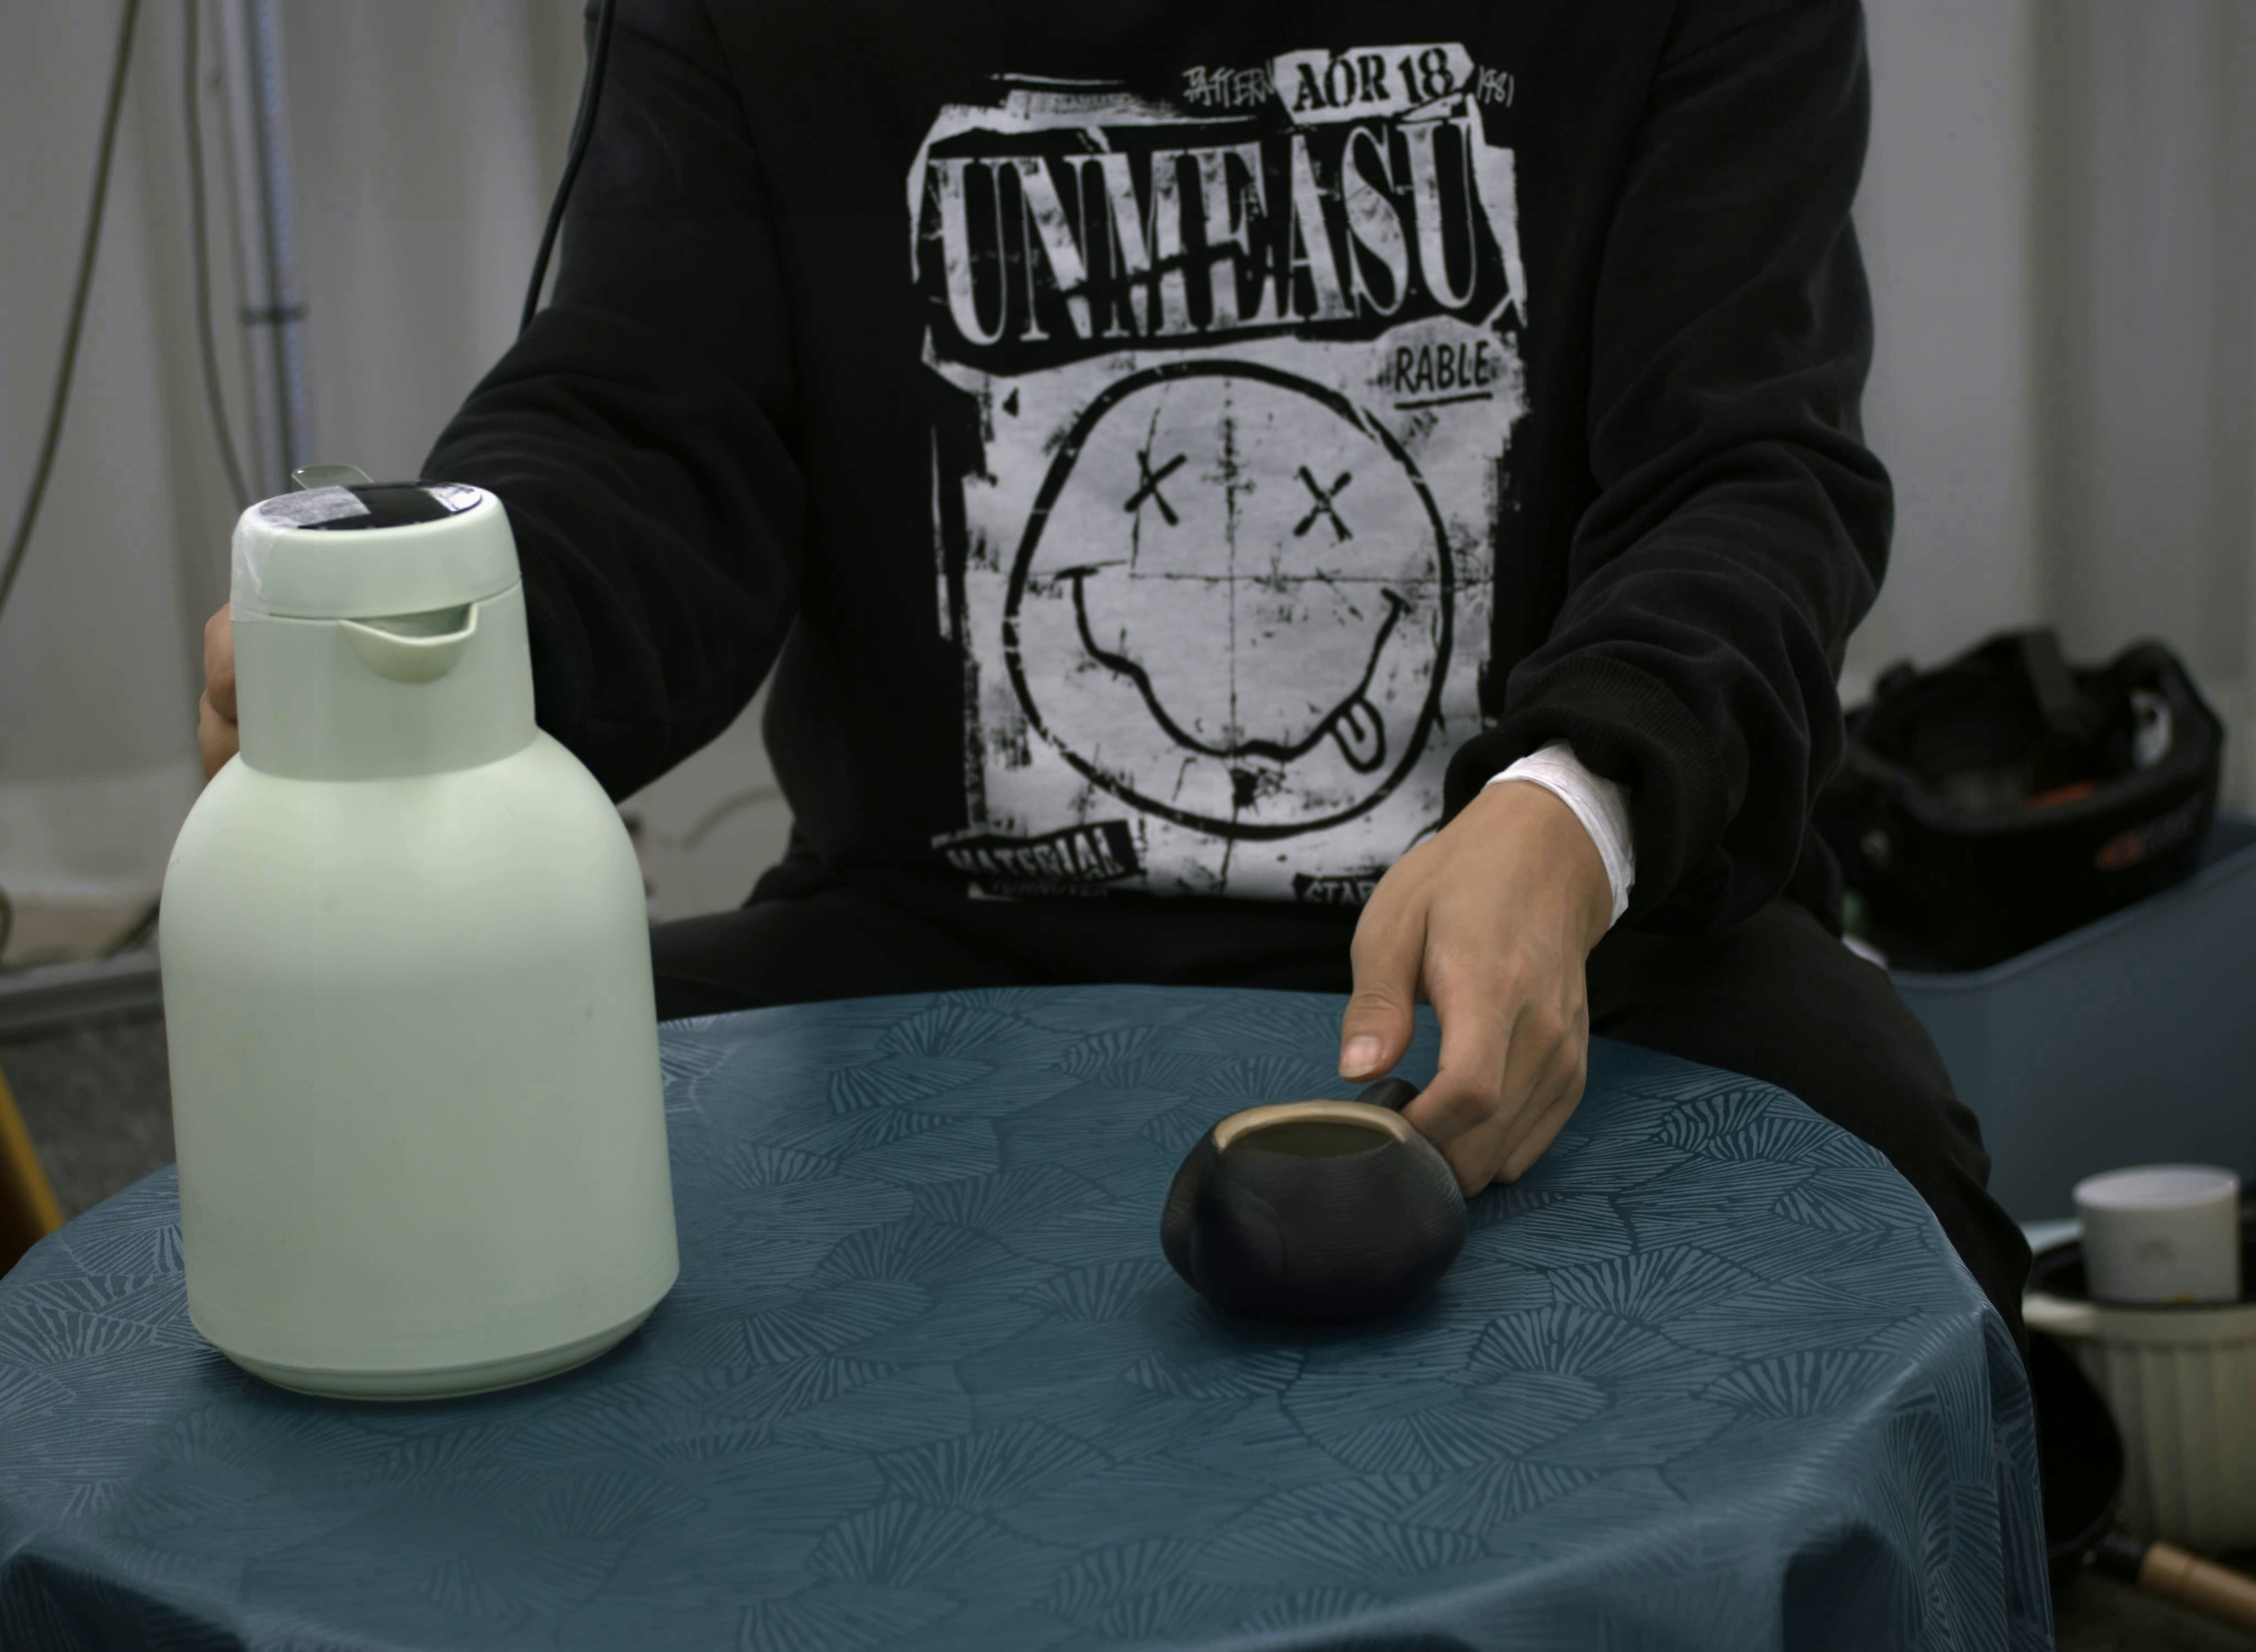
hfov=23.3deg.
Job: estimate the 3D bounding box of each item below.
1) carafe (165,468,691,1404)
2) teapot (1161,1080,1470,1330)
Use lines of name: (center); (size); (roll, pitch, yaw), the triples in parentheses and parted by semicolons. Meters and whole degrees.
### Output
carafe: (-0.215, 0.026, 1.606); (0.143, 0.256, 0.188); (-10, 12, -21)
teapot: (0.055, 0.114, 1.603); (0.091, 0.053, 0.133); (8, 18, 30)
